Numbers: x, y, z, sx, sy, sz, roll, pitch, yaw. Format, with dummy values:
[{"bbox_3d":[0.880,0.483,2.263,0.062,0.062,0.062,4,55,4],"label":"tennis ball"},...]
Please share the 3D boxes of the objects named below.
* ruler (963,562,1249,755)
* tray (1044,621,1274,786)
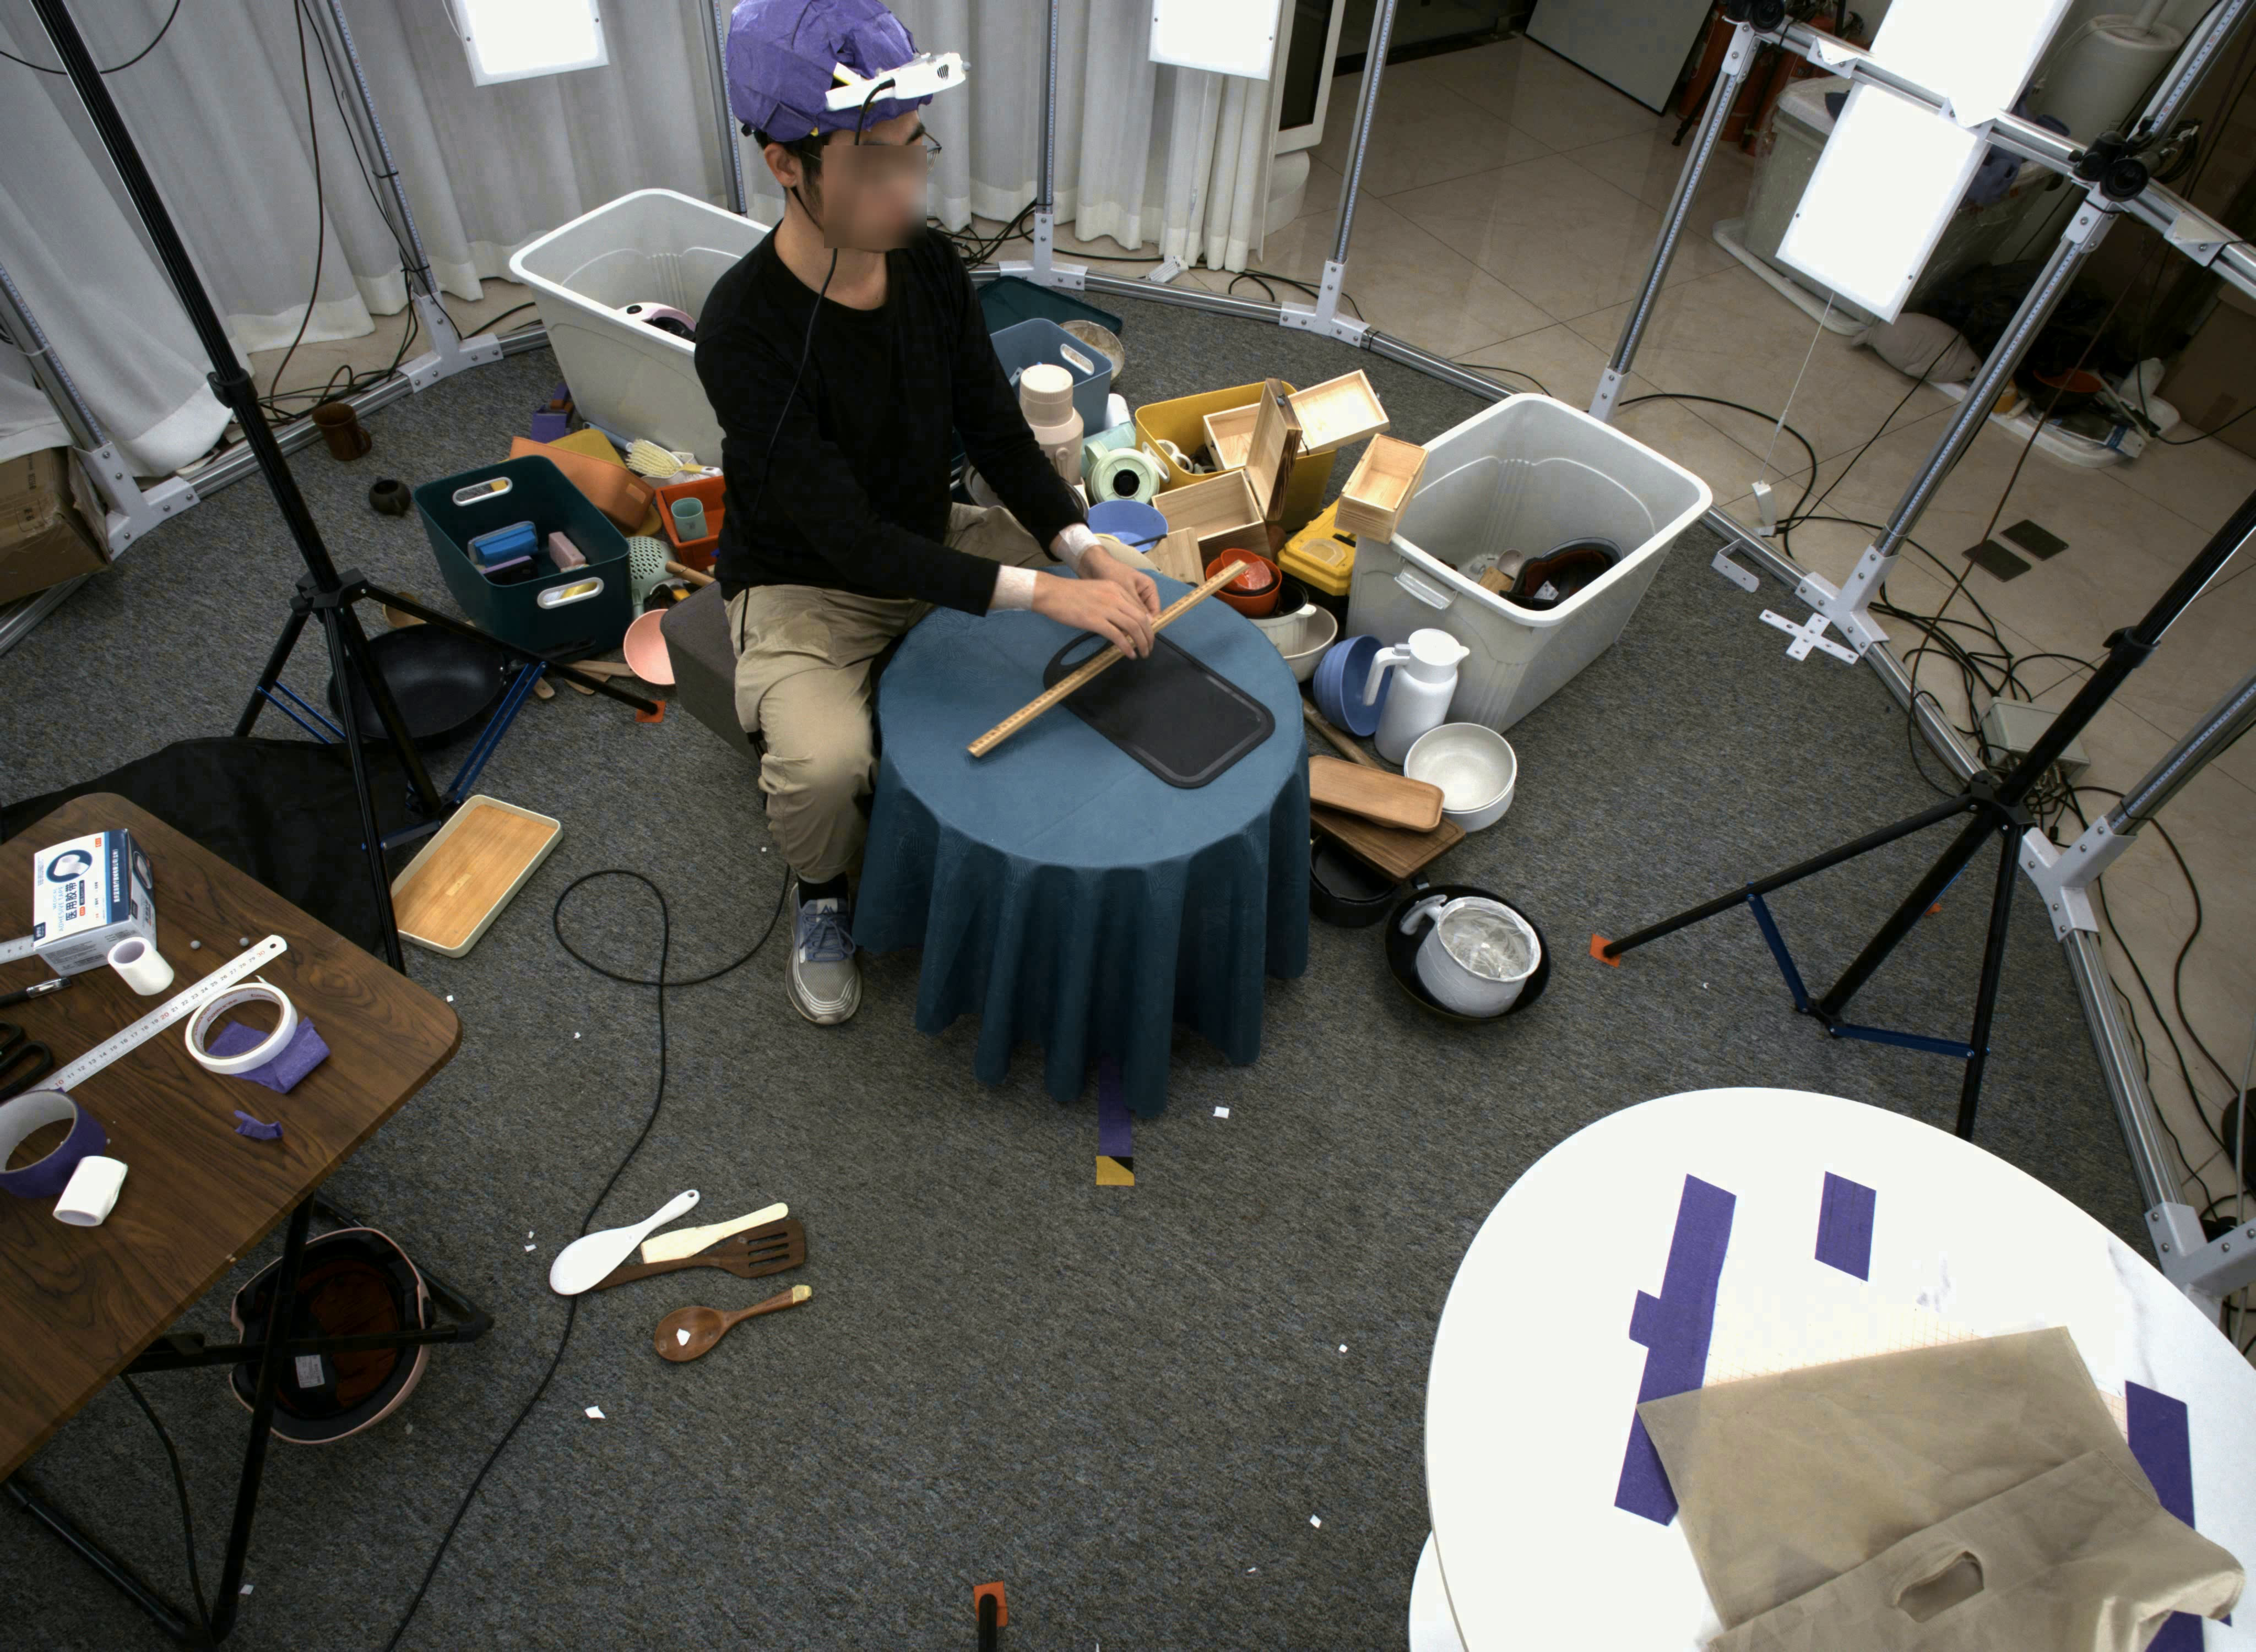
[{"bbox_3d":[-0.024,-0.242,1.805,0.503,0.006,0.027,-36,46,-18],"label":"ruler"},{"bbox_3d":[0.036,-0.185,1.827,0.213,0.009,0.330,-36,60,-29],"label":"tray"}]
